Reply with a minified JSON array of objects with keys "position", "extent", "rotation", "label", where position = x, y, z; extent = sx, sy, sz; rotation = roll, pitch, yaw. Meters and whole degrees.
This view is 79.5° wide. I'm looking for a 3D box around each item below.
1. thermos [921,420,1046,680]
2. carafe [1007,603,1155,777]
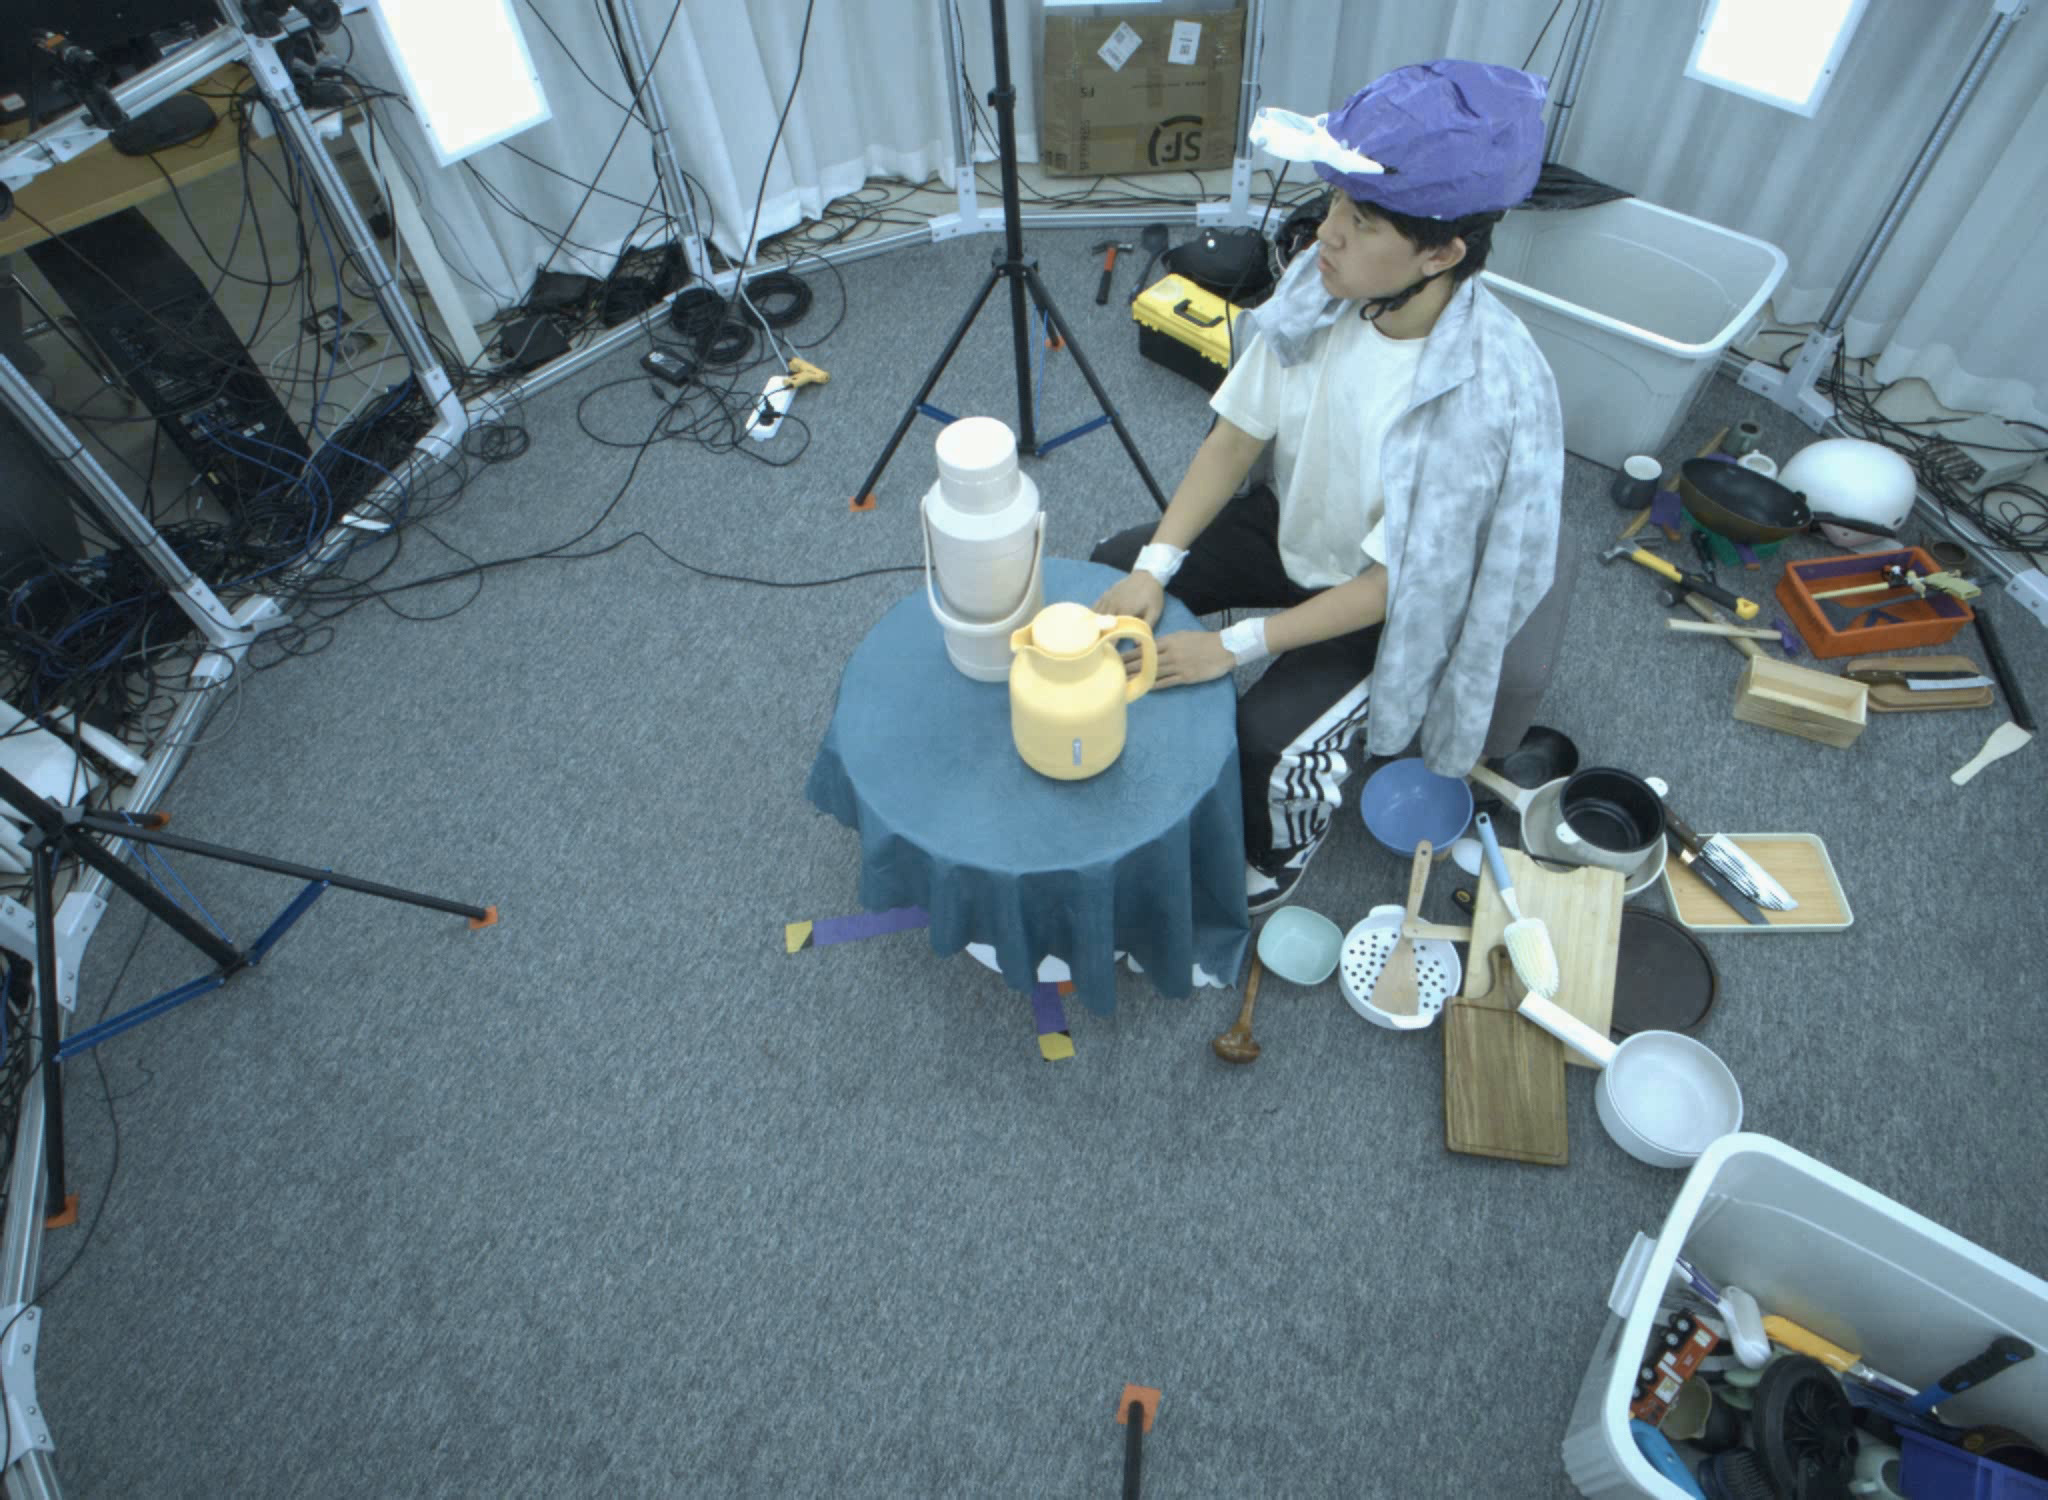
[{"position":[-0.047,-0.294,1.754],"extent":[0.174,0.411,0.206],"rotation":[10,56,12],"label":"thermos"},{"position":[0.079,-0.090,1.689],"extent":[0.203,0.263,0.161],"rotation":[-8,57,-1],"label":"carafe"}]
